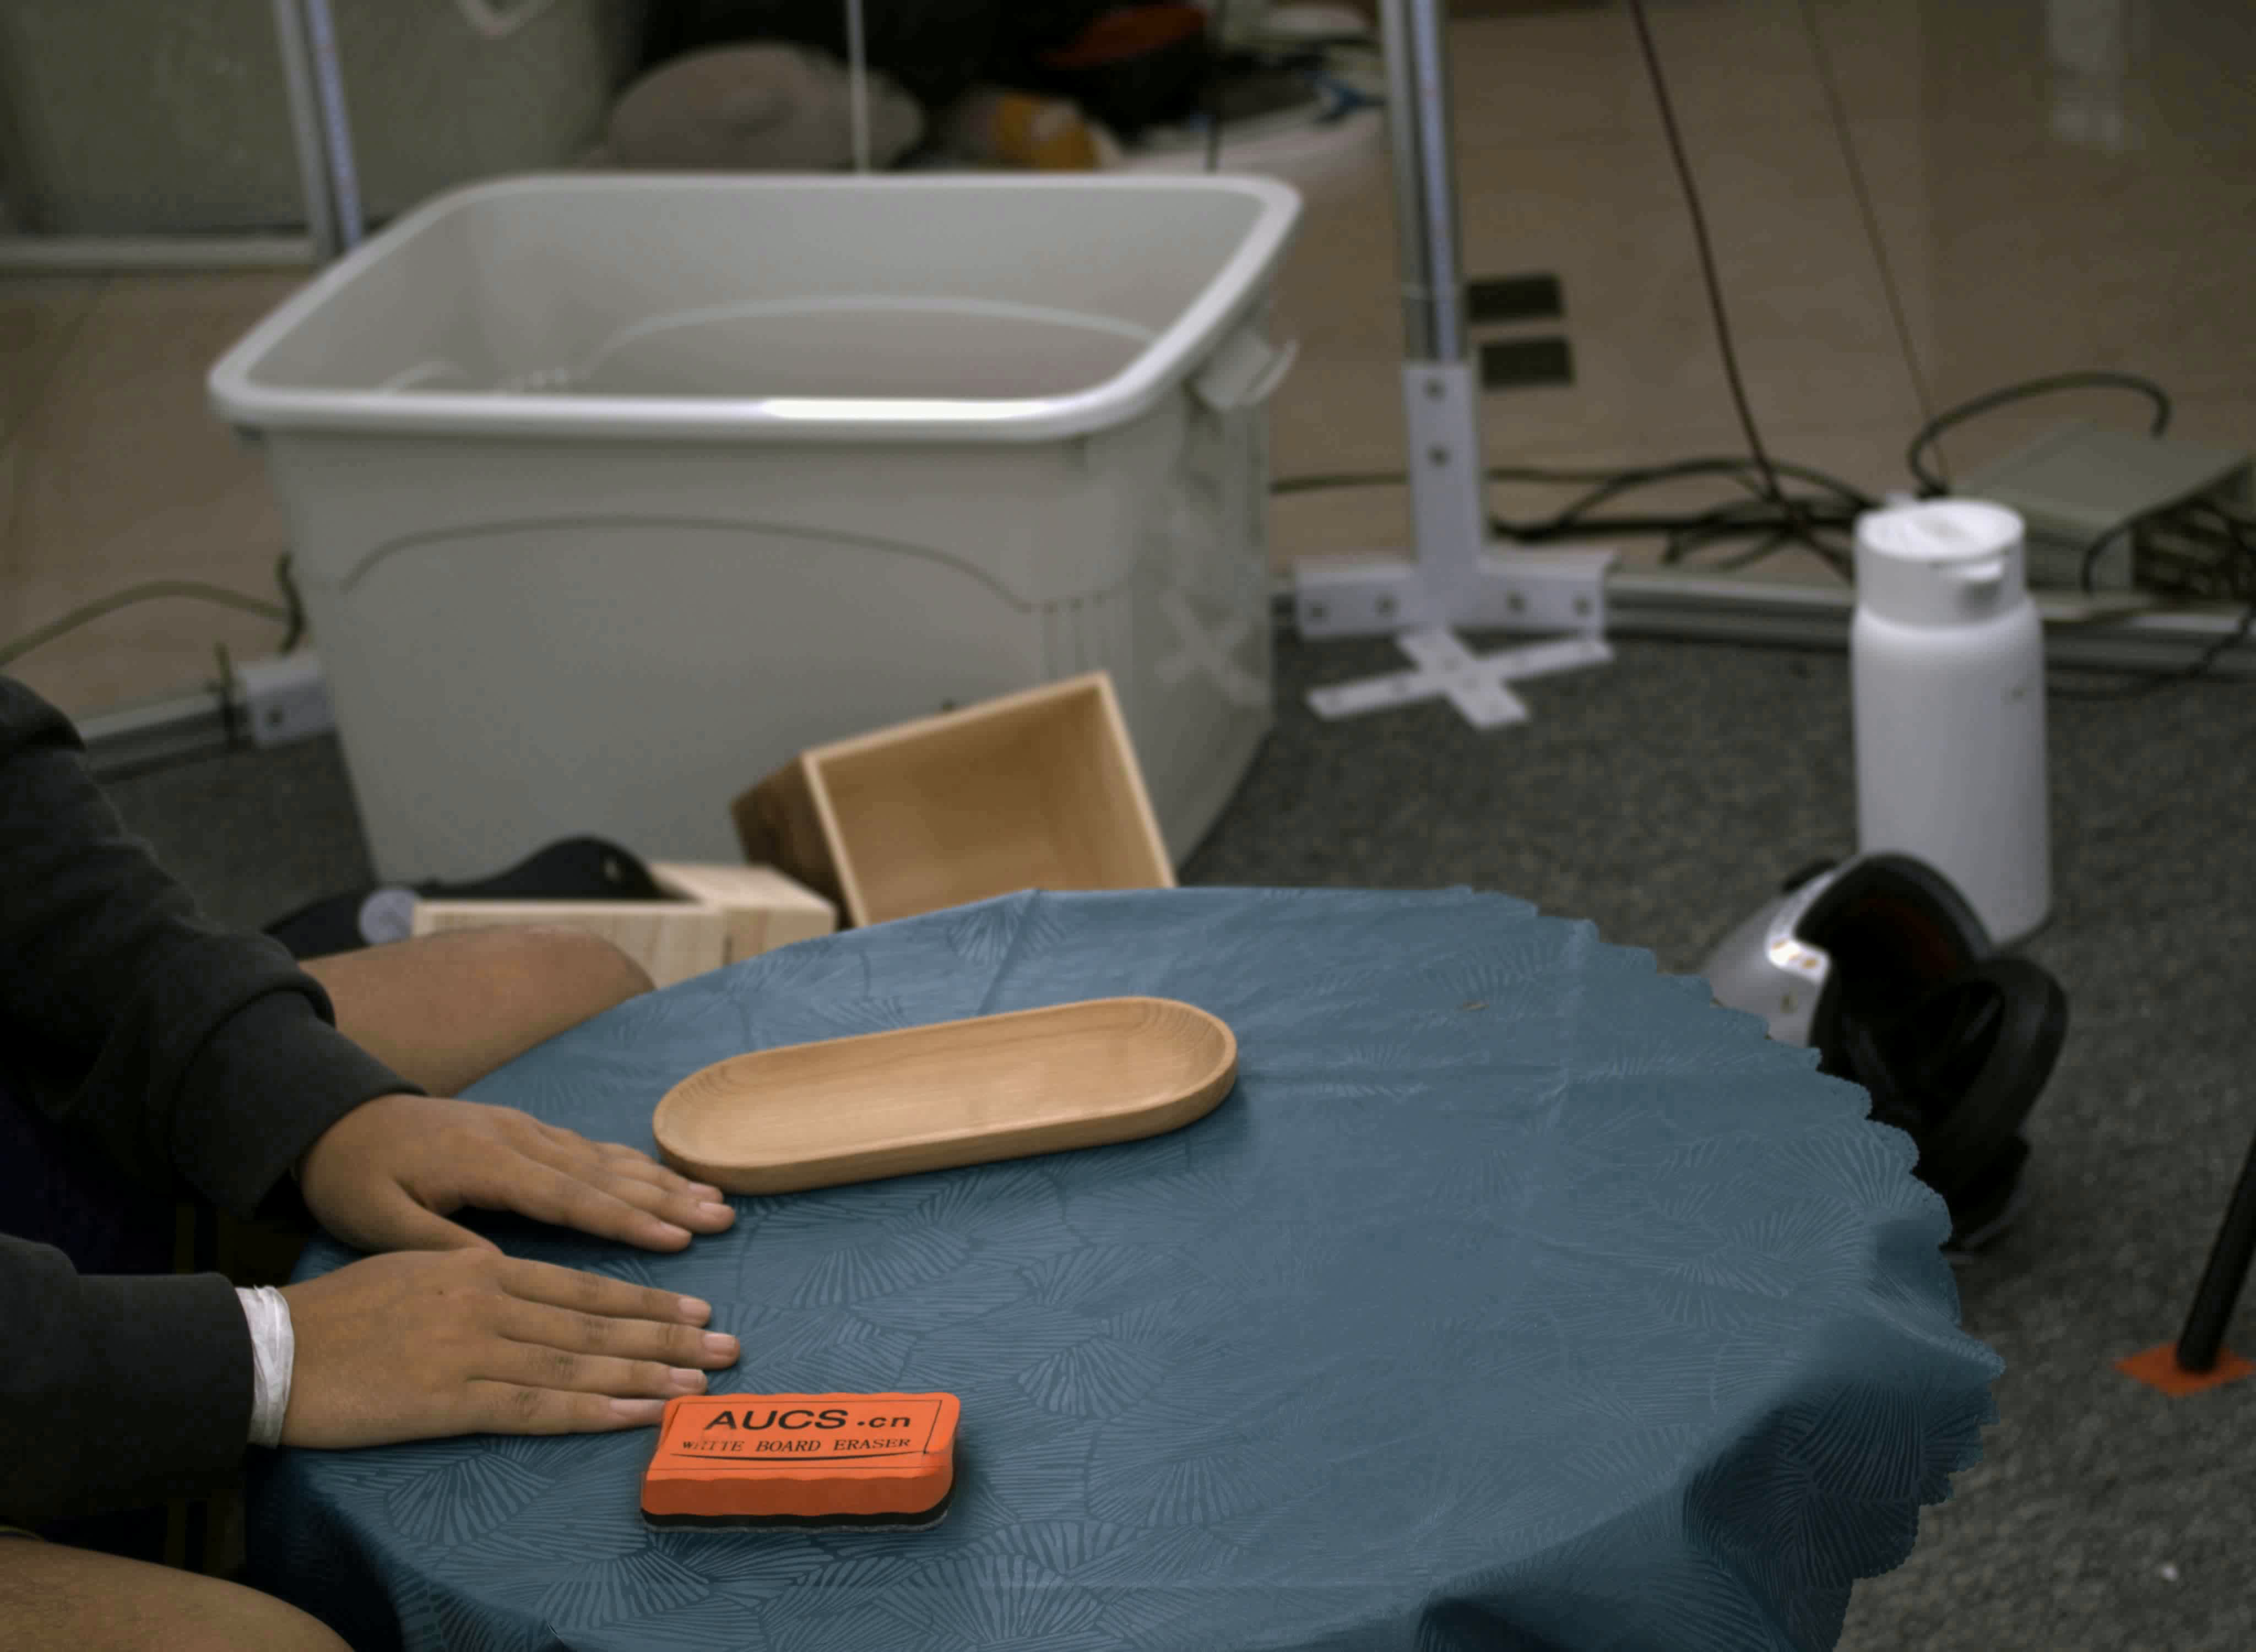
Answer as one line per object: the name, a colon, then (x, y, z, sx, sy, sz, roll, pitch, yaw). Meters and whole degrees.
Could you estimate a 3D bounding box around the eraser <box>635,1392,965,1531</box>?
eraser: (-0.113, 0.220, 1.972, 0.108, 0.023, 0.058, -2, 26, 11)

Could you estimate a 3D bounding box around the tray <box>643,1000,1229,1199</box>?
tray: (-0.074, 0.107, 2.214, 0.231, 0.020, 0.100, -10, 24, -4)
